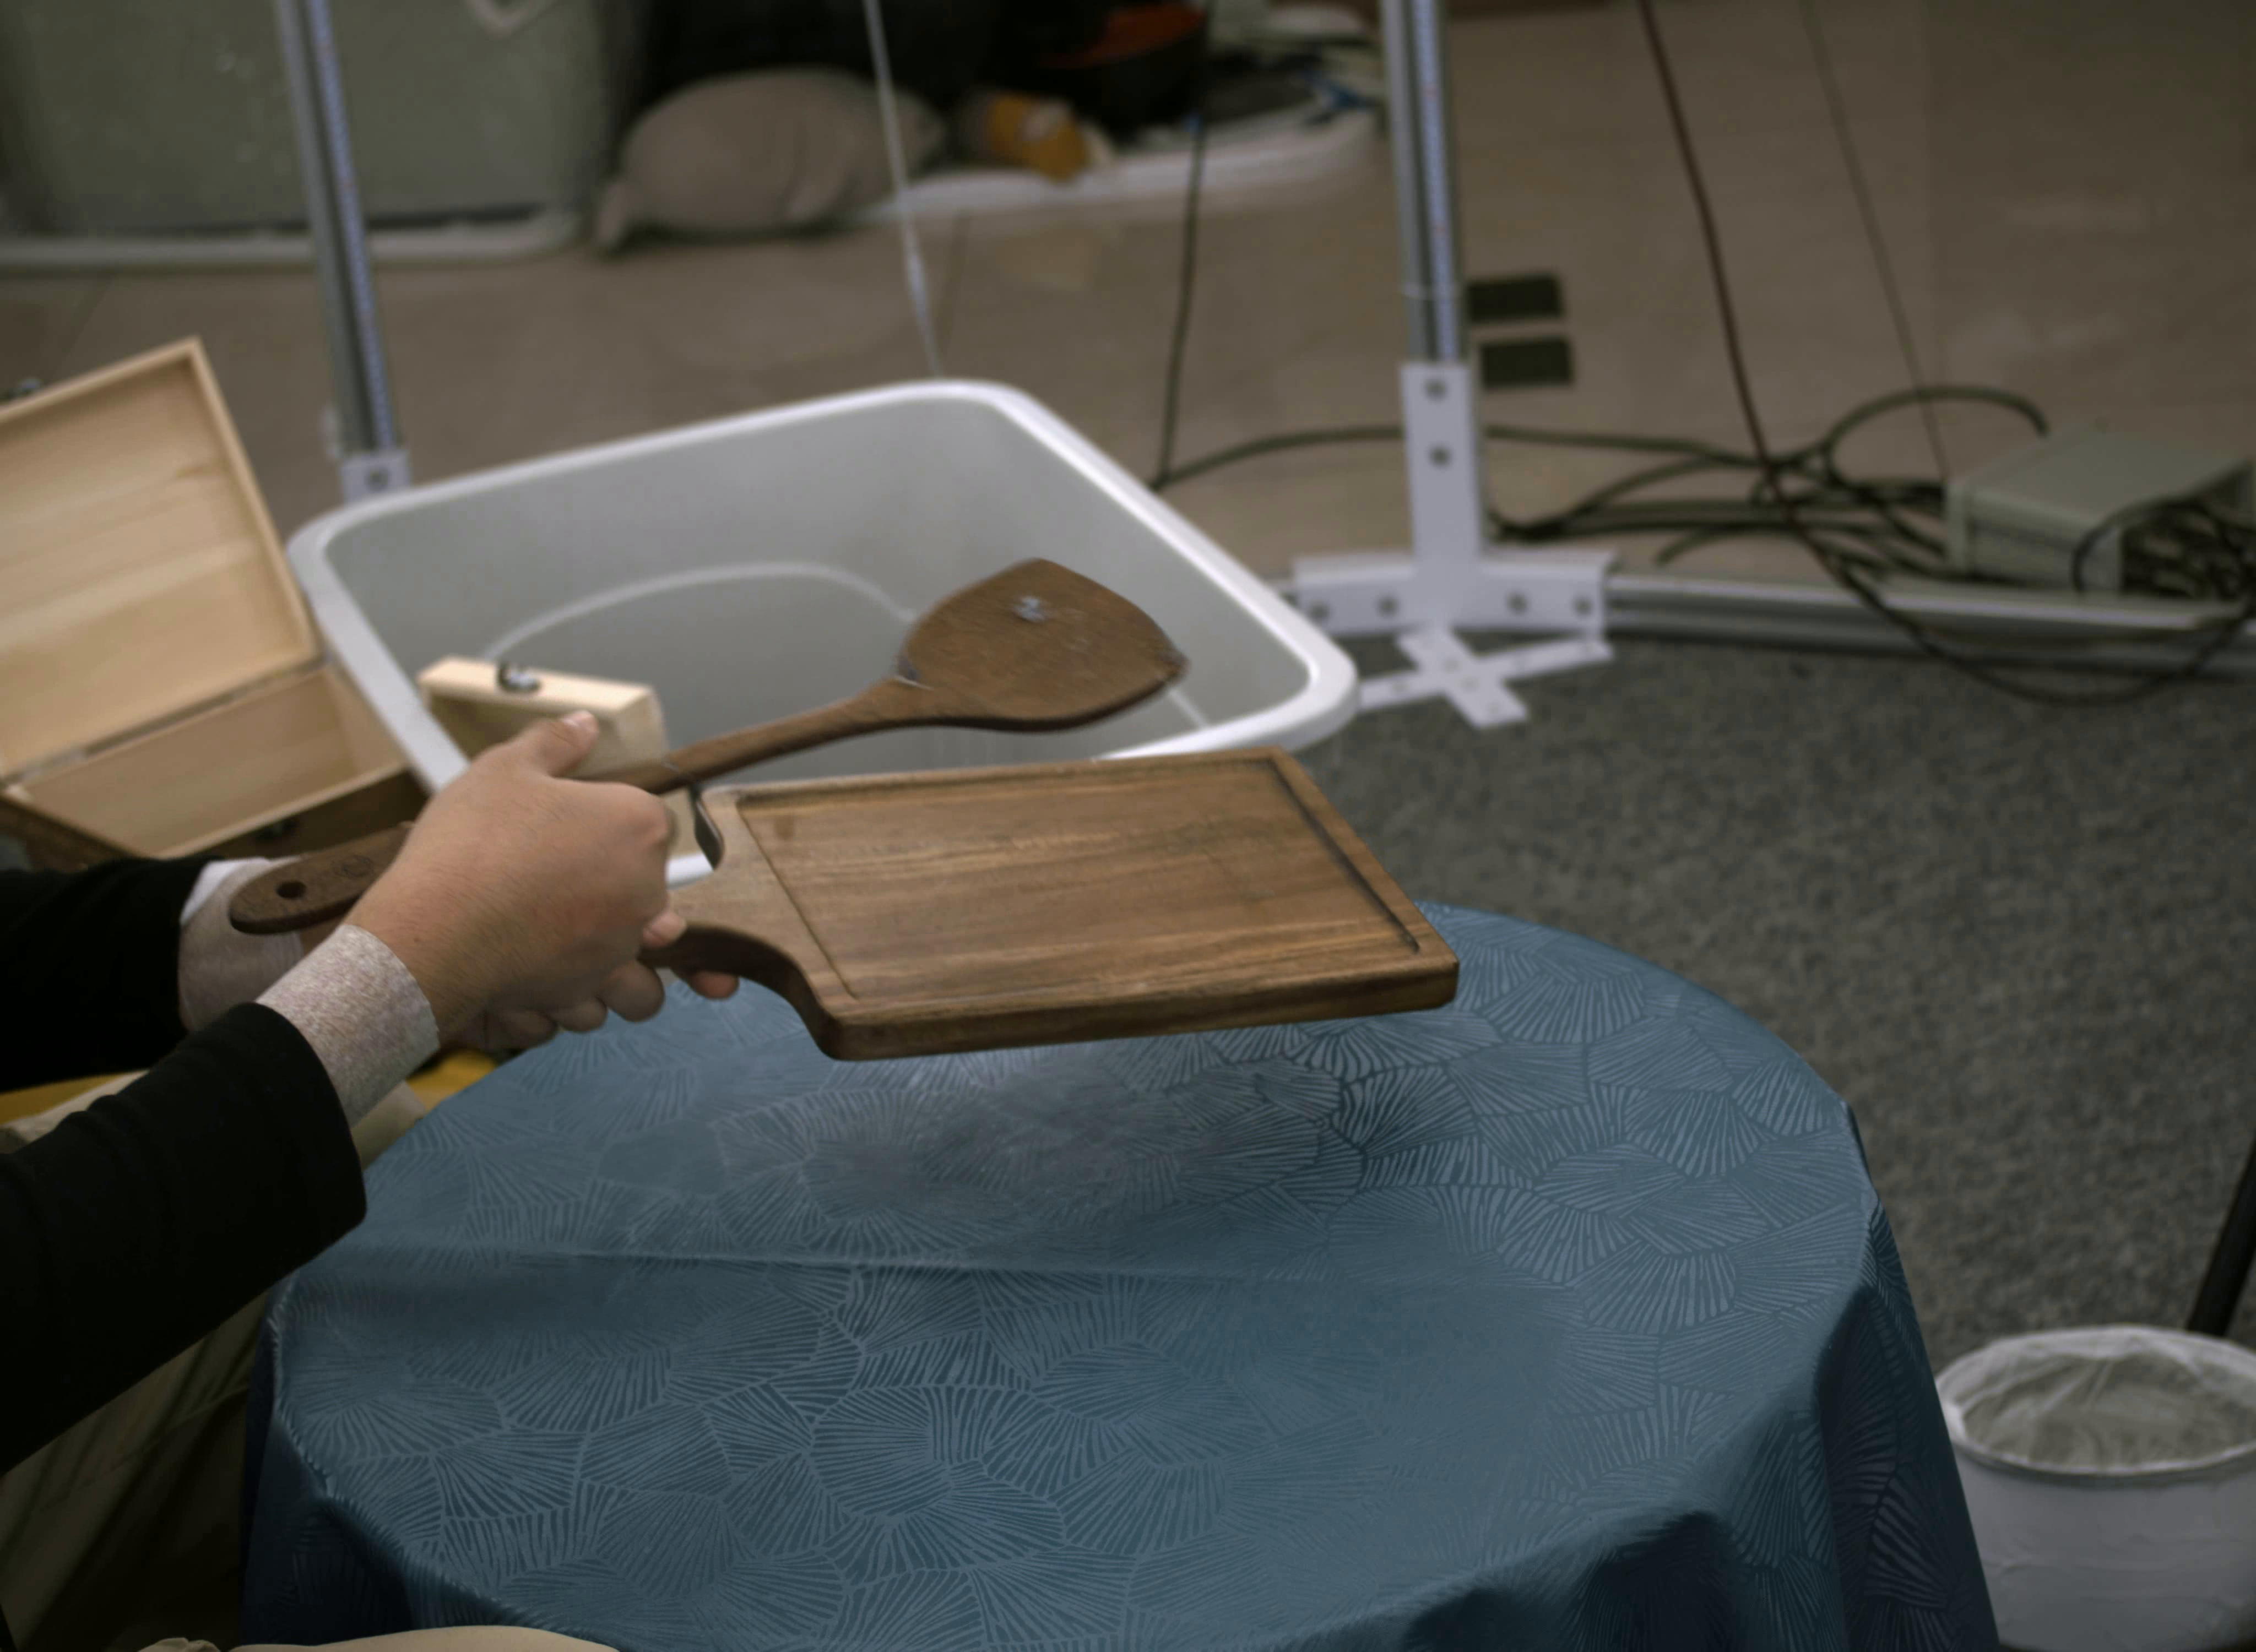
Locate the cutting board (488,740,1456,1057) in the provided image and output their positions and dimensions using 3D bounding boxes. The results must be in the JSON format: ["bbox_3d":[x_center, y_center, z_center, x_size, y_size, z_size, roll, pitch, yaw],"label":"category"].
[{"bbox_3d":[-0.071,0.028,2.148,0.351,0.023,0.198,-5,28,-20],"label":"cutting board"}]

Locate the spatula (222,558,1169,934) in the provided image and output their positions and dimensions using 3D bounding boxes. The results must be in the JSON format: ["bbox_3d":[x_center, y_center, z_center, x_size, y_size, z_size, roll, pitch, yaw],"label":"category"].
[{"bbox_3d":[-0.151,-0.026,1.988,0.383,0.016,0.095,-20,41,-35],"label":"spatula"}]
